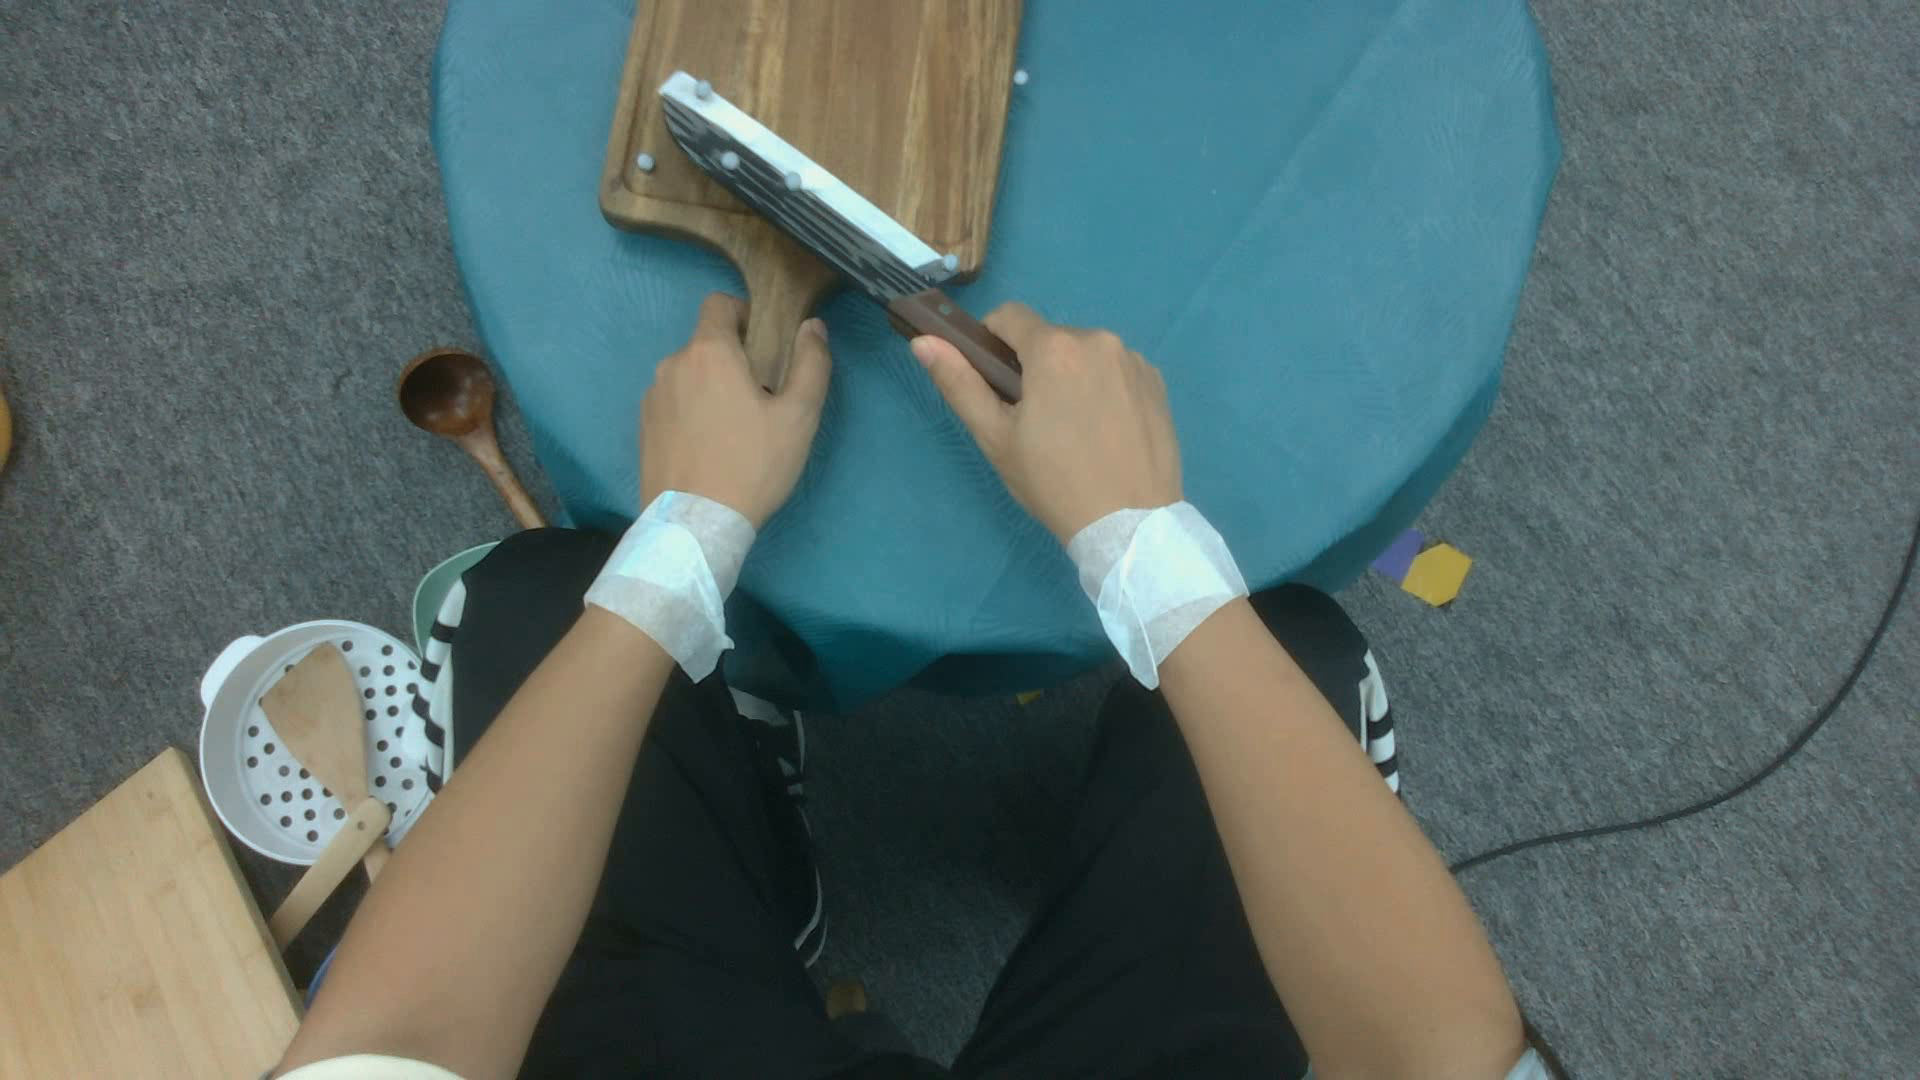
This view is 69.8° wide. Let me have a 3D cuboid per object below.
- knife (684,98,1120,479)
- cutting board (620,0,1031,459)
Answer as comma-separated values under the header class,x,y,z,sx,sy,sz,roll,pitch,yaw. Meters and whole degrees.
class,x,y,z,sx,sy,sz,roll,pitch,yaw
knife,-0.032,-0.133,0.686,0.299,0.024,0.068,38,41,10
cutting board,-0.072,-0.214,0.734,0.201,0.023,0.353,8,78,-1
